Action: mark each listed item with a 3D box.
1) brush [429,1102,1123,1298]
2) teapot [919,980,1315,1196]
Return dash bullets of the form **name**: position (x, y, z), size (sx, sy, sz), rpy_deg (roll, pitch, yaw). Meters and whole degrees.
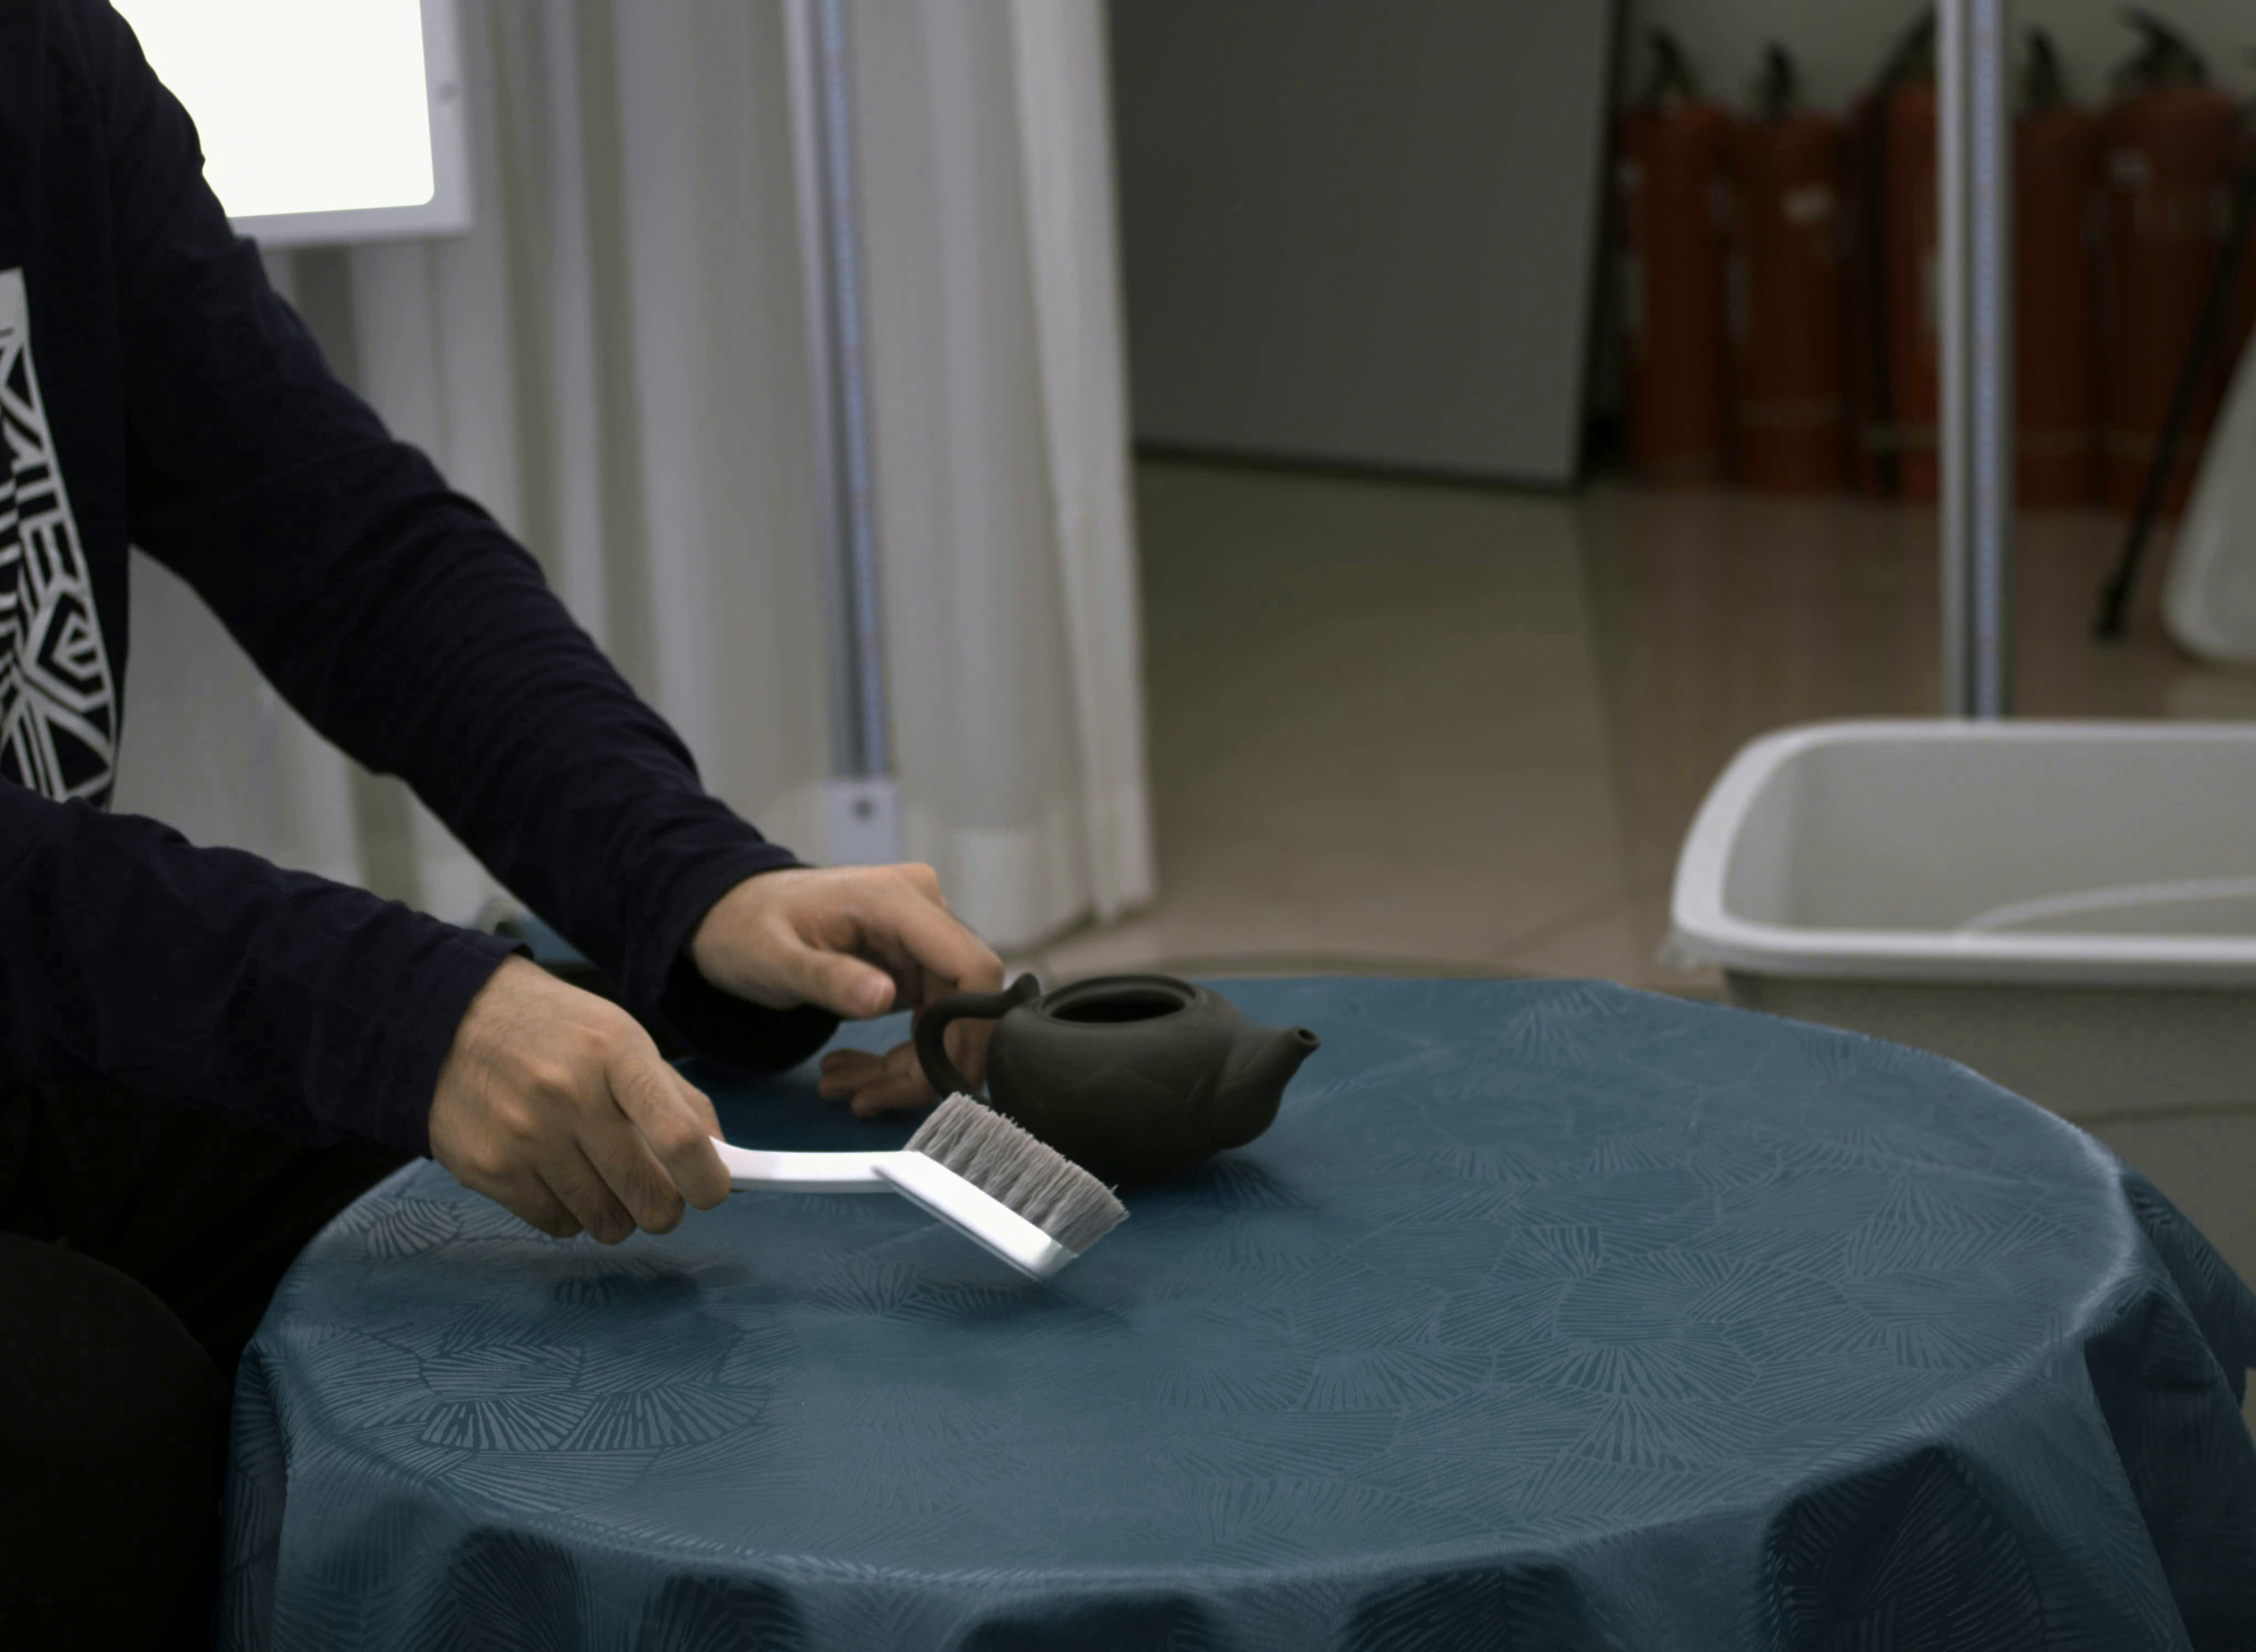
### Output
- **brush**: position (-0.114, 0.100, 1.716), size (0.244, 0.051, 0.034), rpy_deg (12, -11, 27)
- **teapot**: position (-0.004, 0.085, 1.797), size (0.155, 0.065, 0.091), rpy_deg (3, 16, 31)
